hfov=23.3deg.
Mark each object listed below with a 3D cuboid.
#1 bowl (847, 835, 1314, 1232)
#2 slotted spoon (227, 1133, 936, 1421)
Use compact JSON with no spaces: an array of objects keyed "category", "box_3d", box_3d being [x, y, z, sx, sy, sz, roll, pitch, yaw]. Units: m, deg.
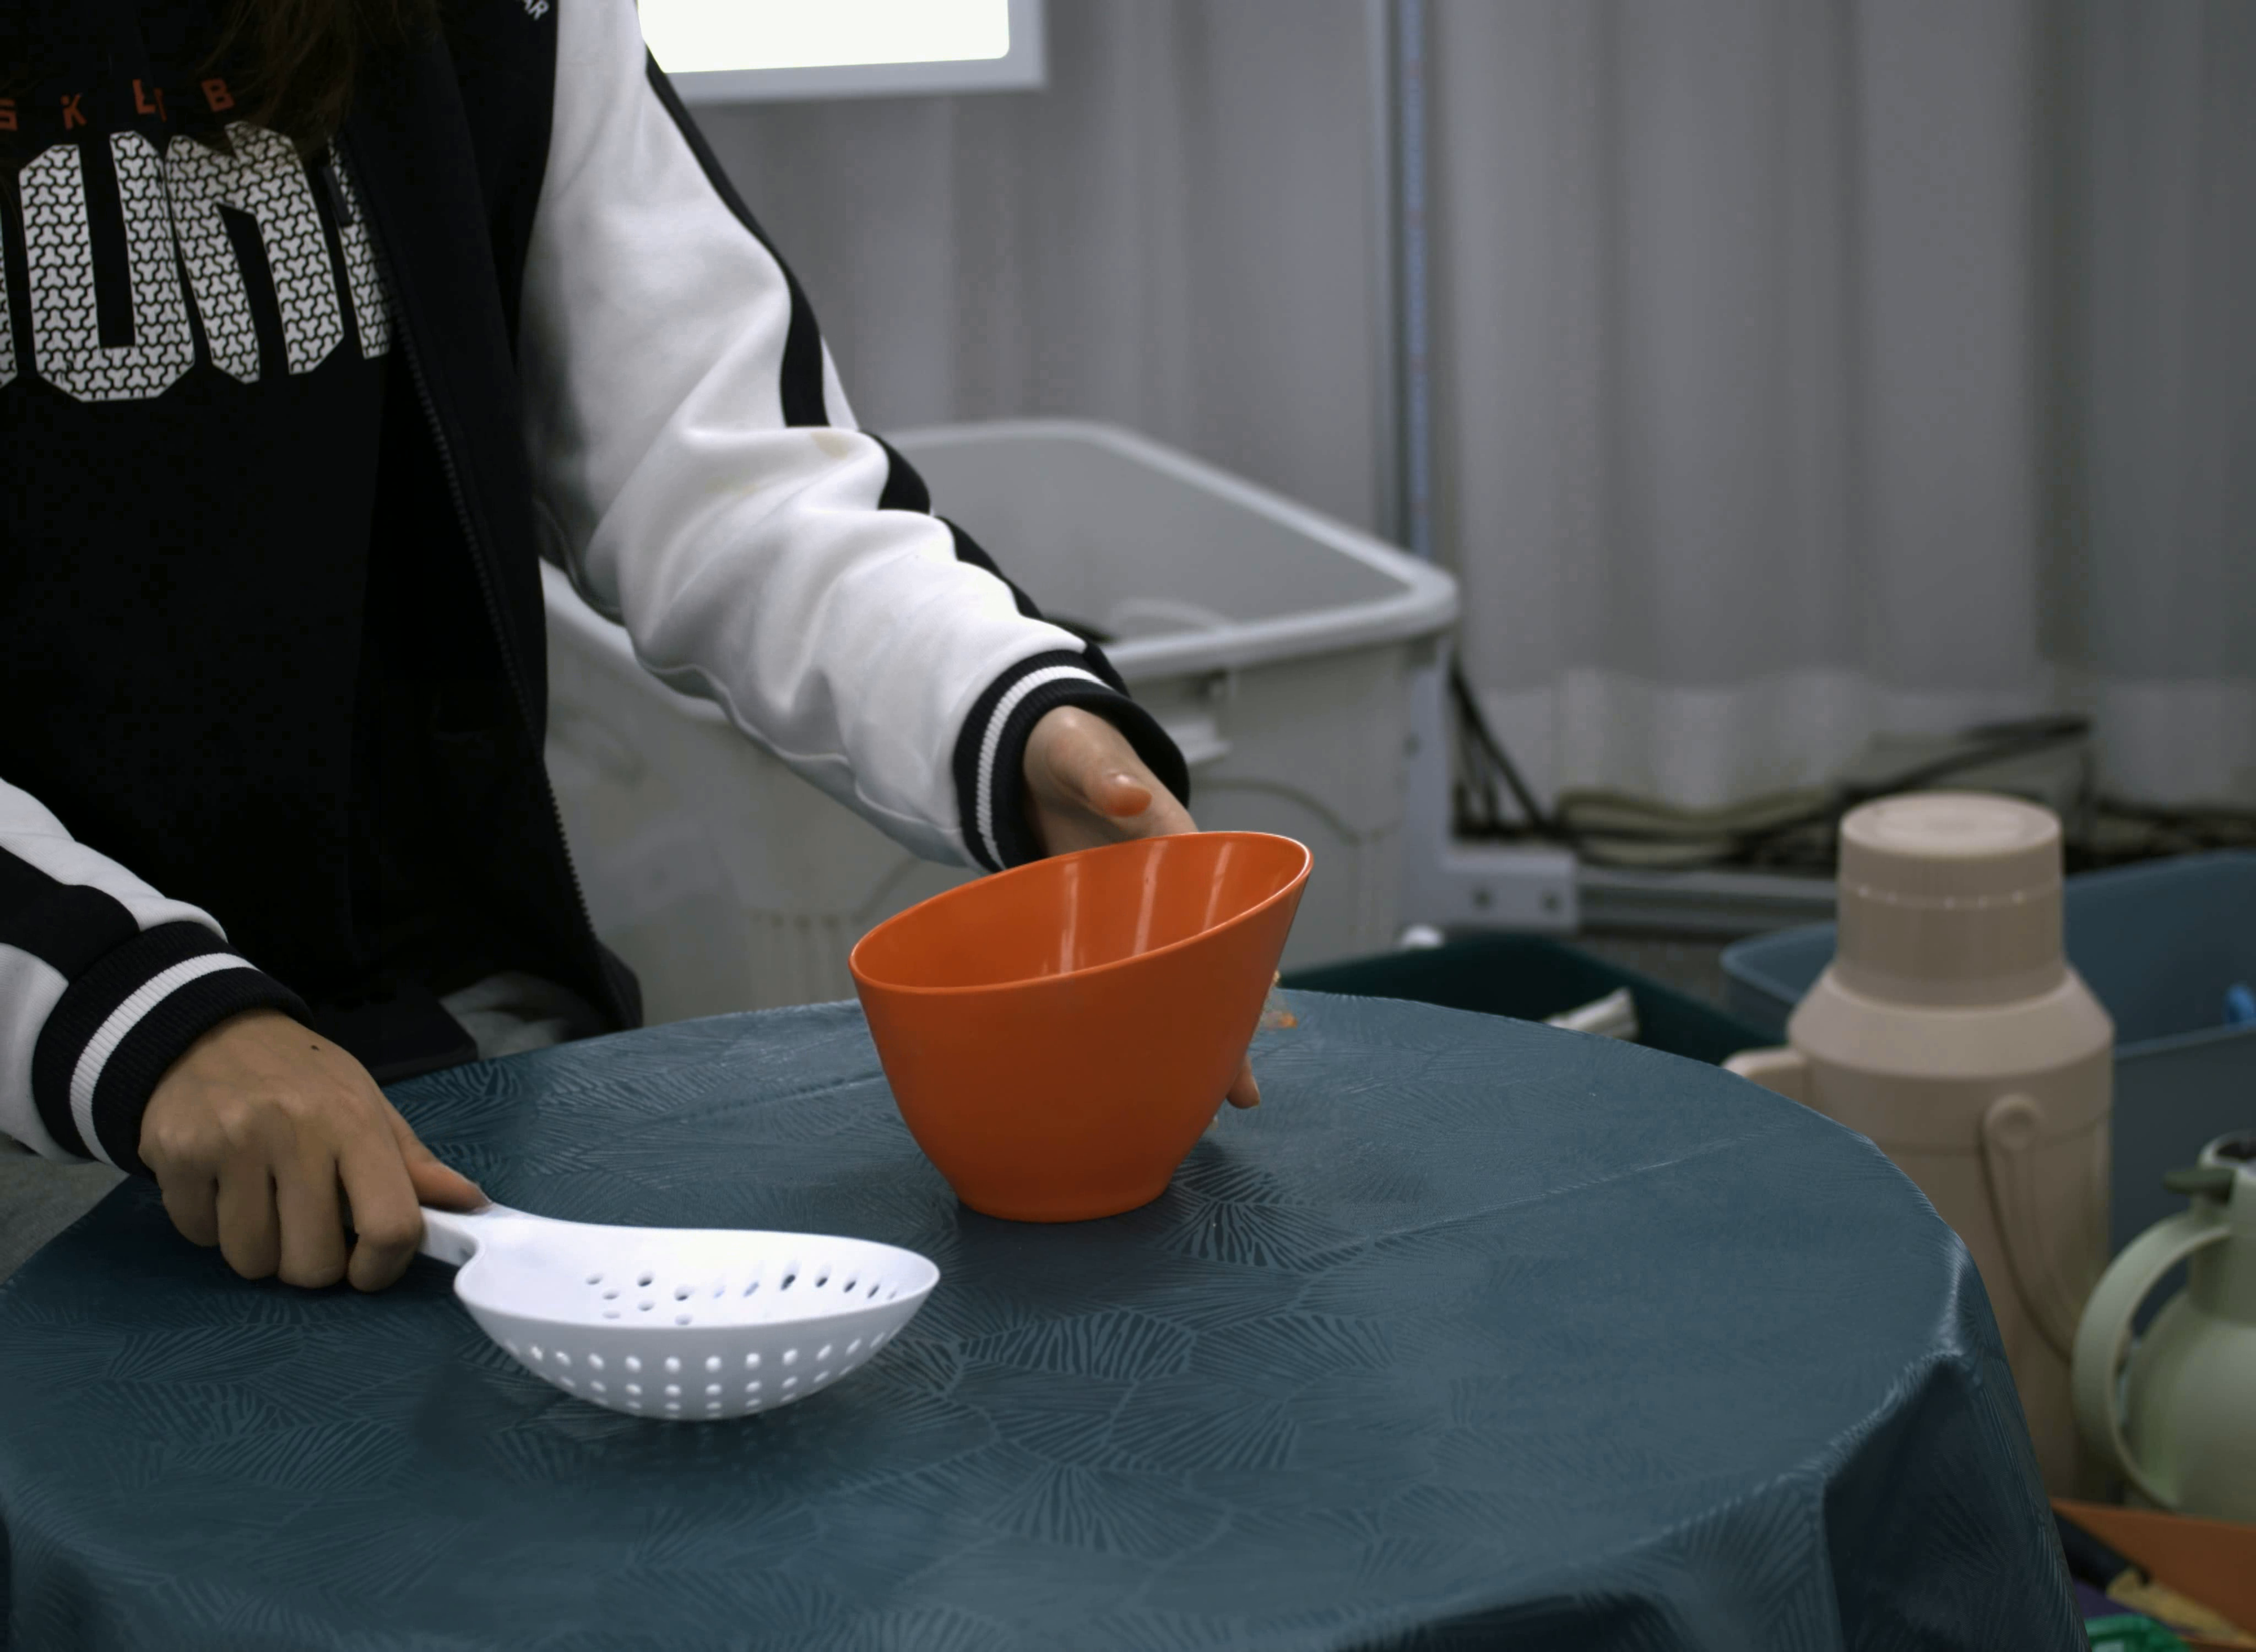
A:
[{"category":"bowl","box_3d":[-0.012,0.067,1.705,0.147,0.104,0.149,-4,16,1]},{"category":"slotted spoon","box_3d":[-0.183,0.124,1.626,0.135,0.045,0.352,-3,12,-34]}]
